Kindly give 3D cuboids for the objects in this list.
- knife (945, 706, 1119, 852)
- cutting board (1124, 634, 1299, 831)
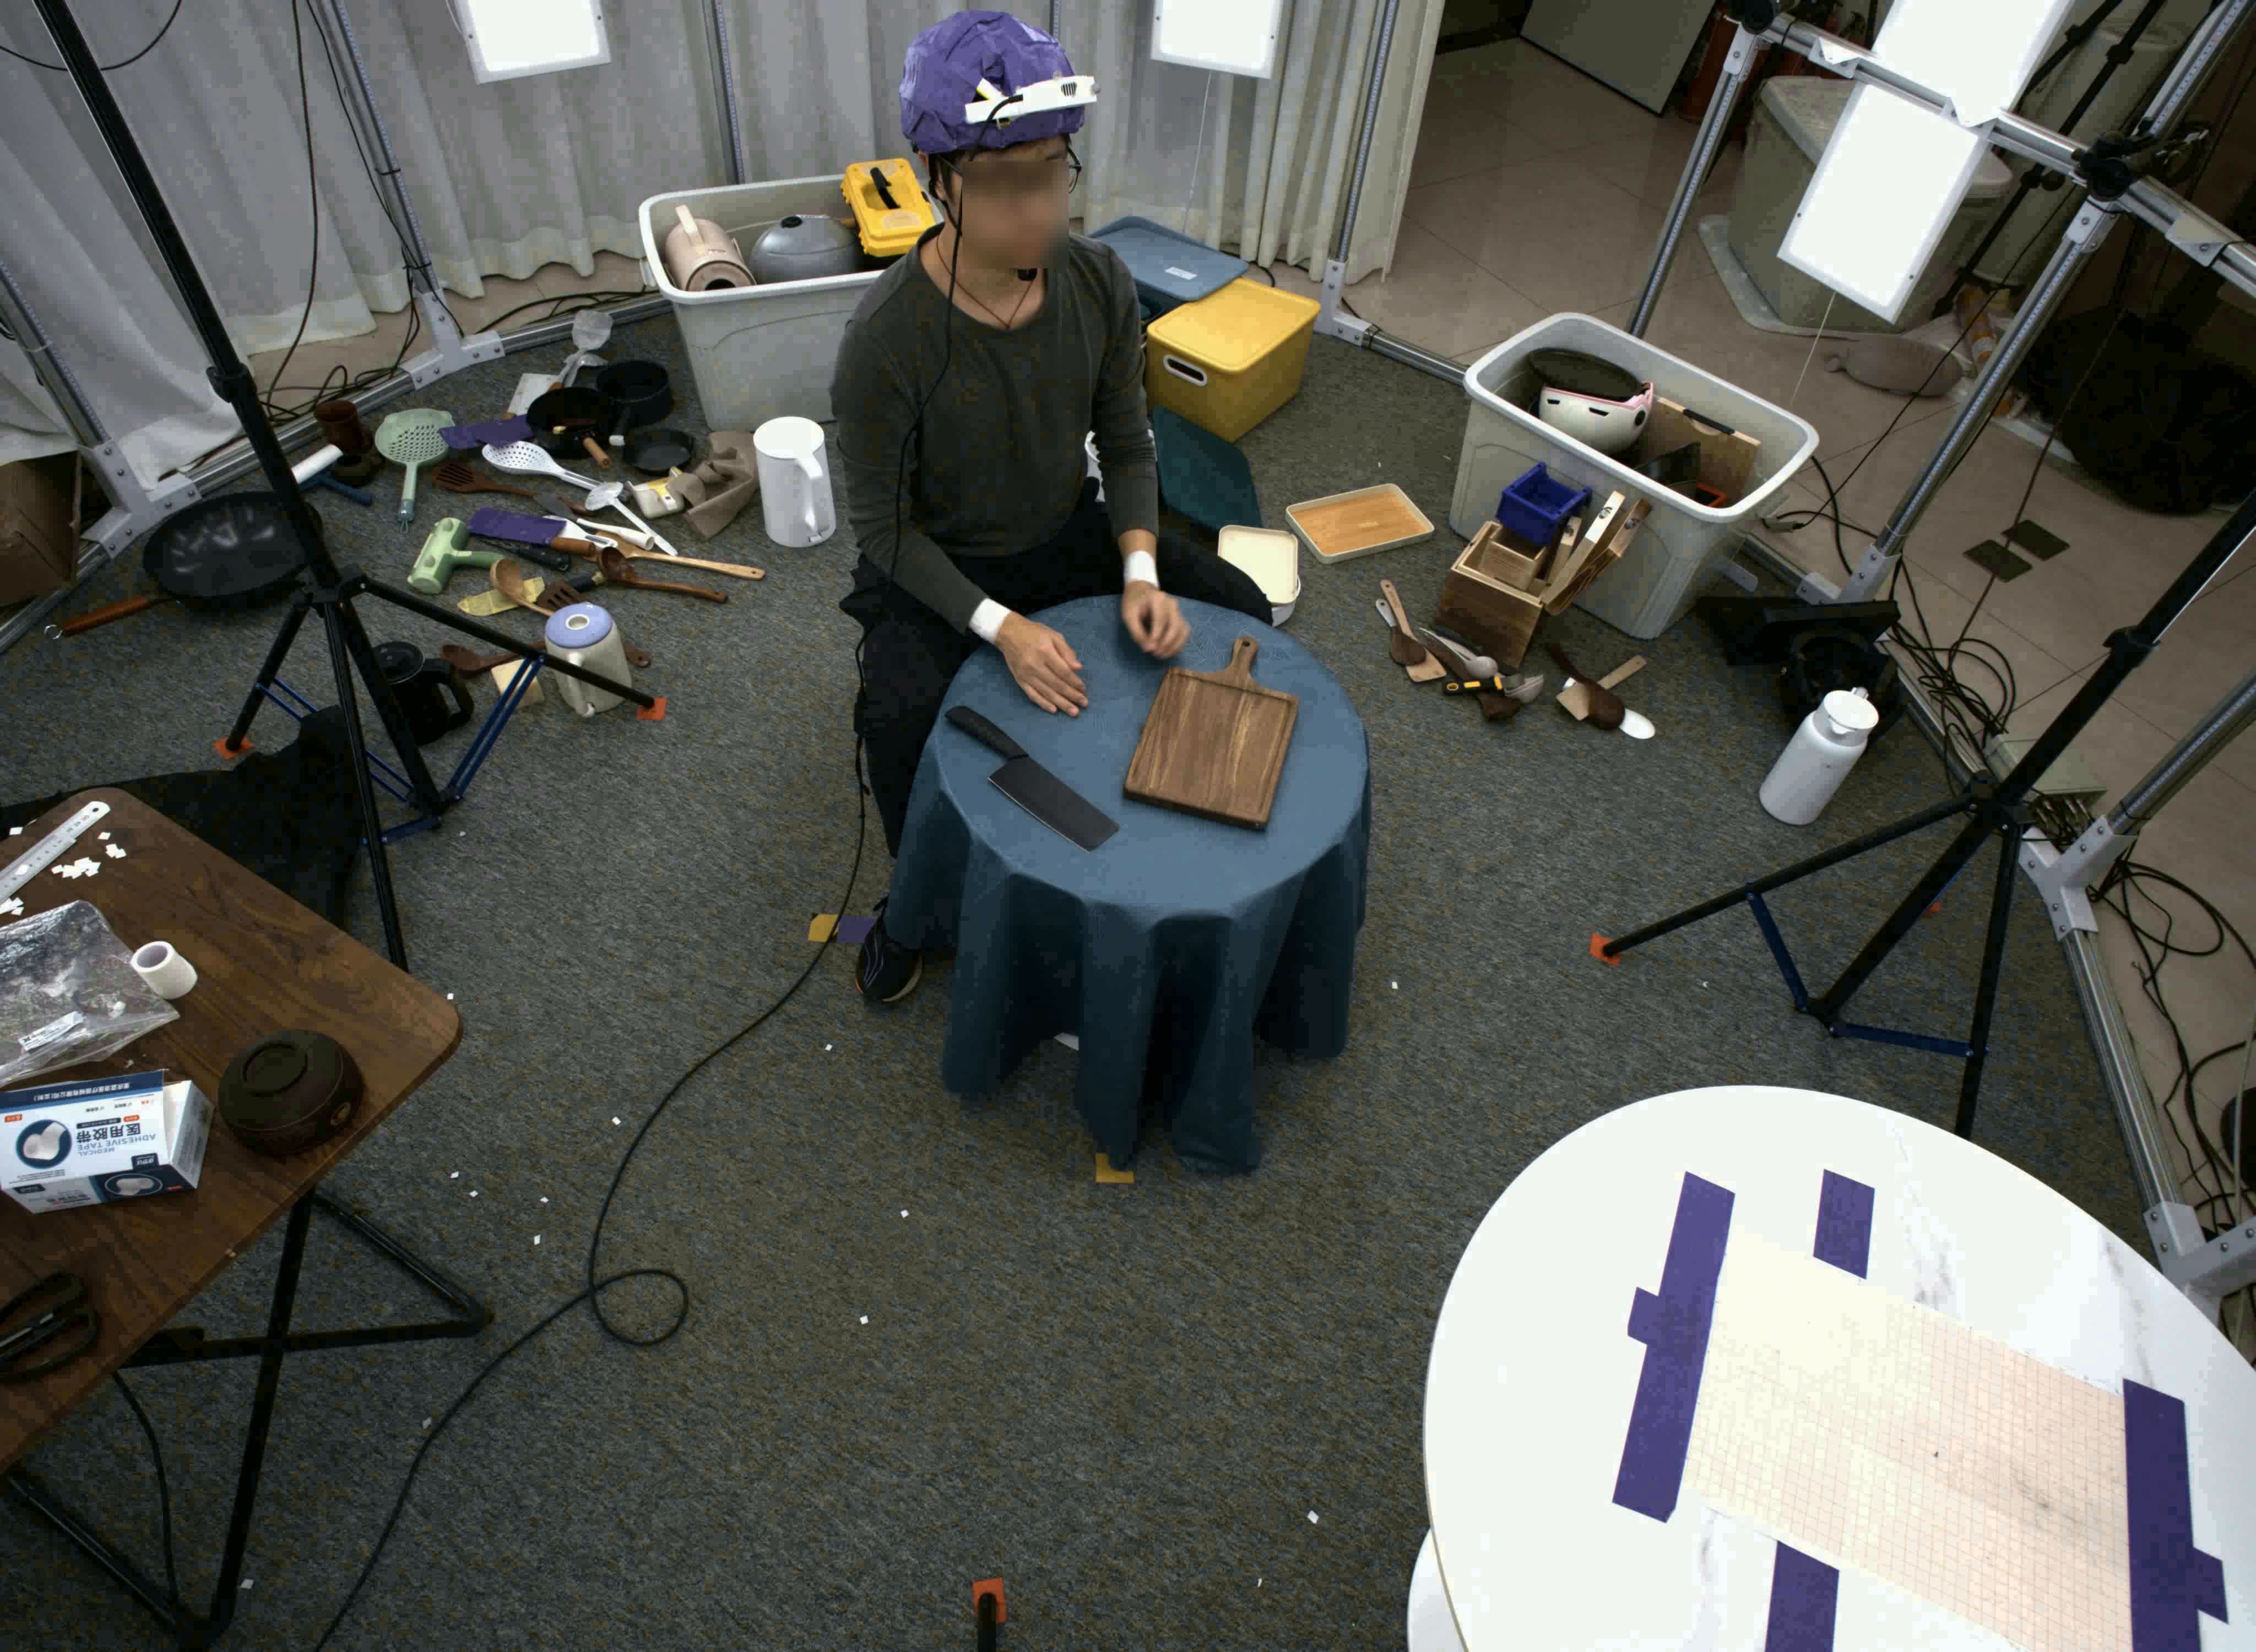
[{"bbox_3d":[-0.138,-0.068,1.708,0.081,0.020,0.307,-34,61,-27],"label":"knife"},{"bbox_3d":[0.132,-0.148,1.791,0.201,0.022,0.360,14,50,7],"label":"cutting board"}]
